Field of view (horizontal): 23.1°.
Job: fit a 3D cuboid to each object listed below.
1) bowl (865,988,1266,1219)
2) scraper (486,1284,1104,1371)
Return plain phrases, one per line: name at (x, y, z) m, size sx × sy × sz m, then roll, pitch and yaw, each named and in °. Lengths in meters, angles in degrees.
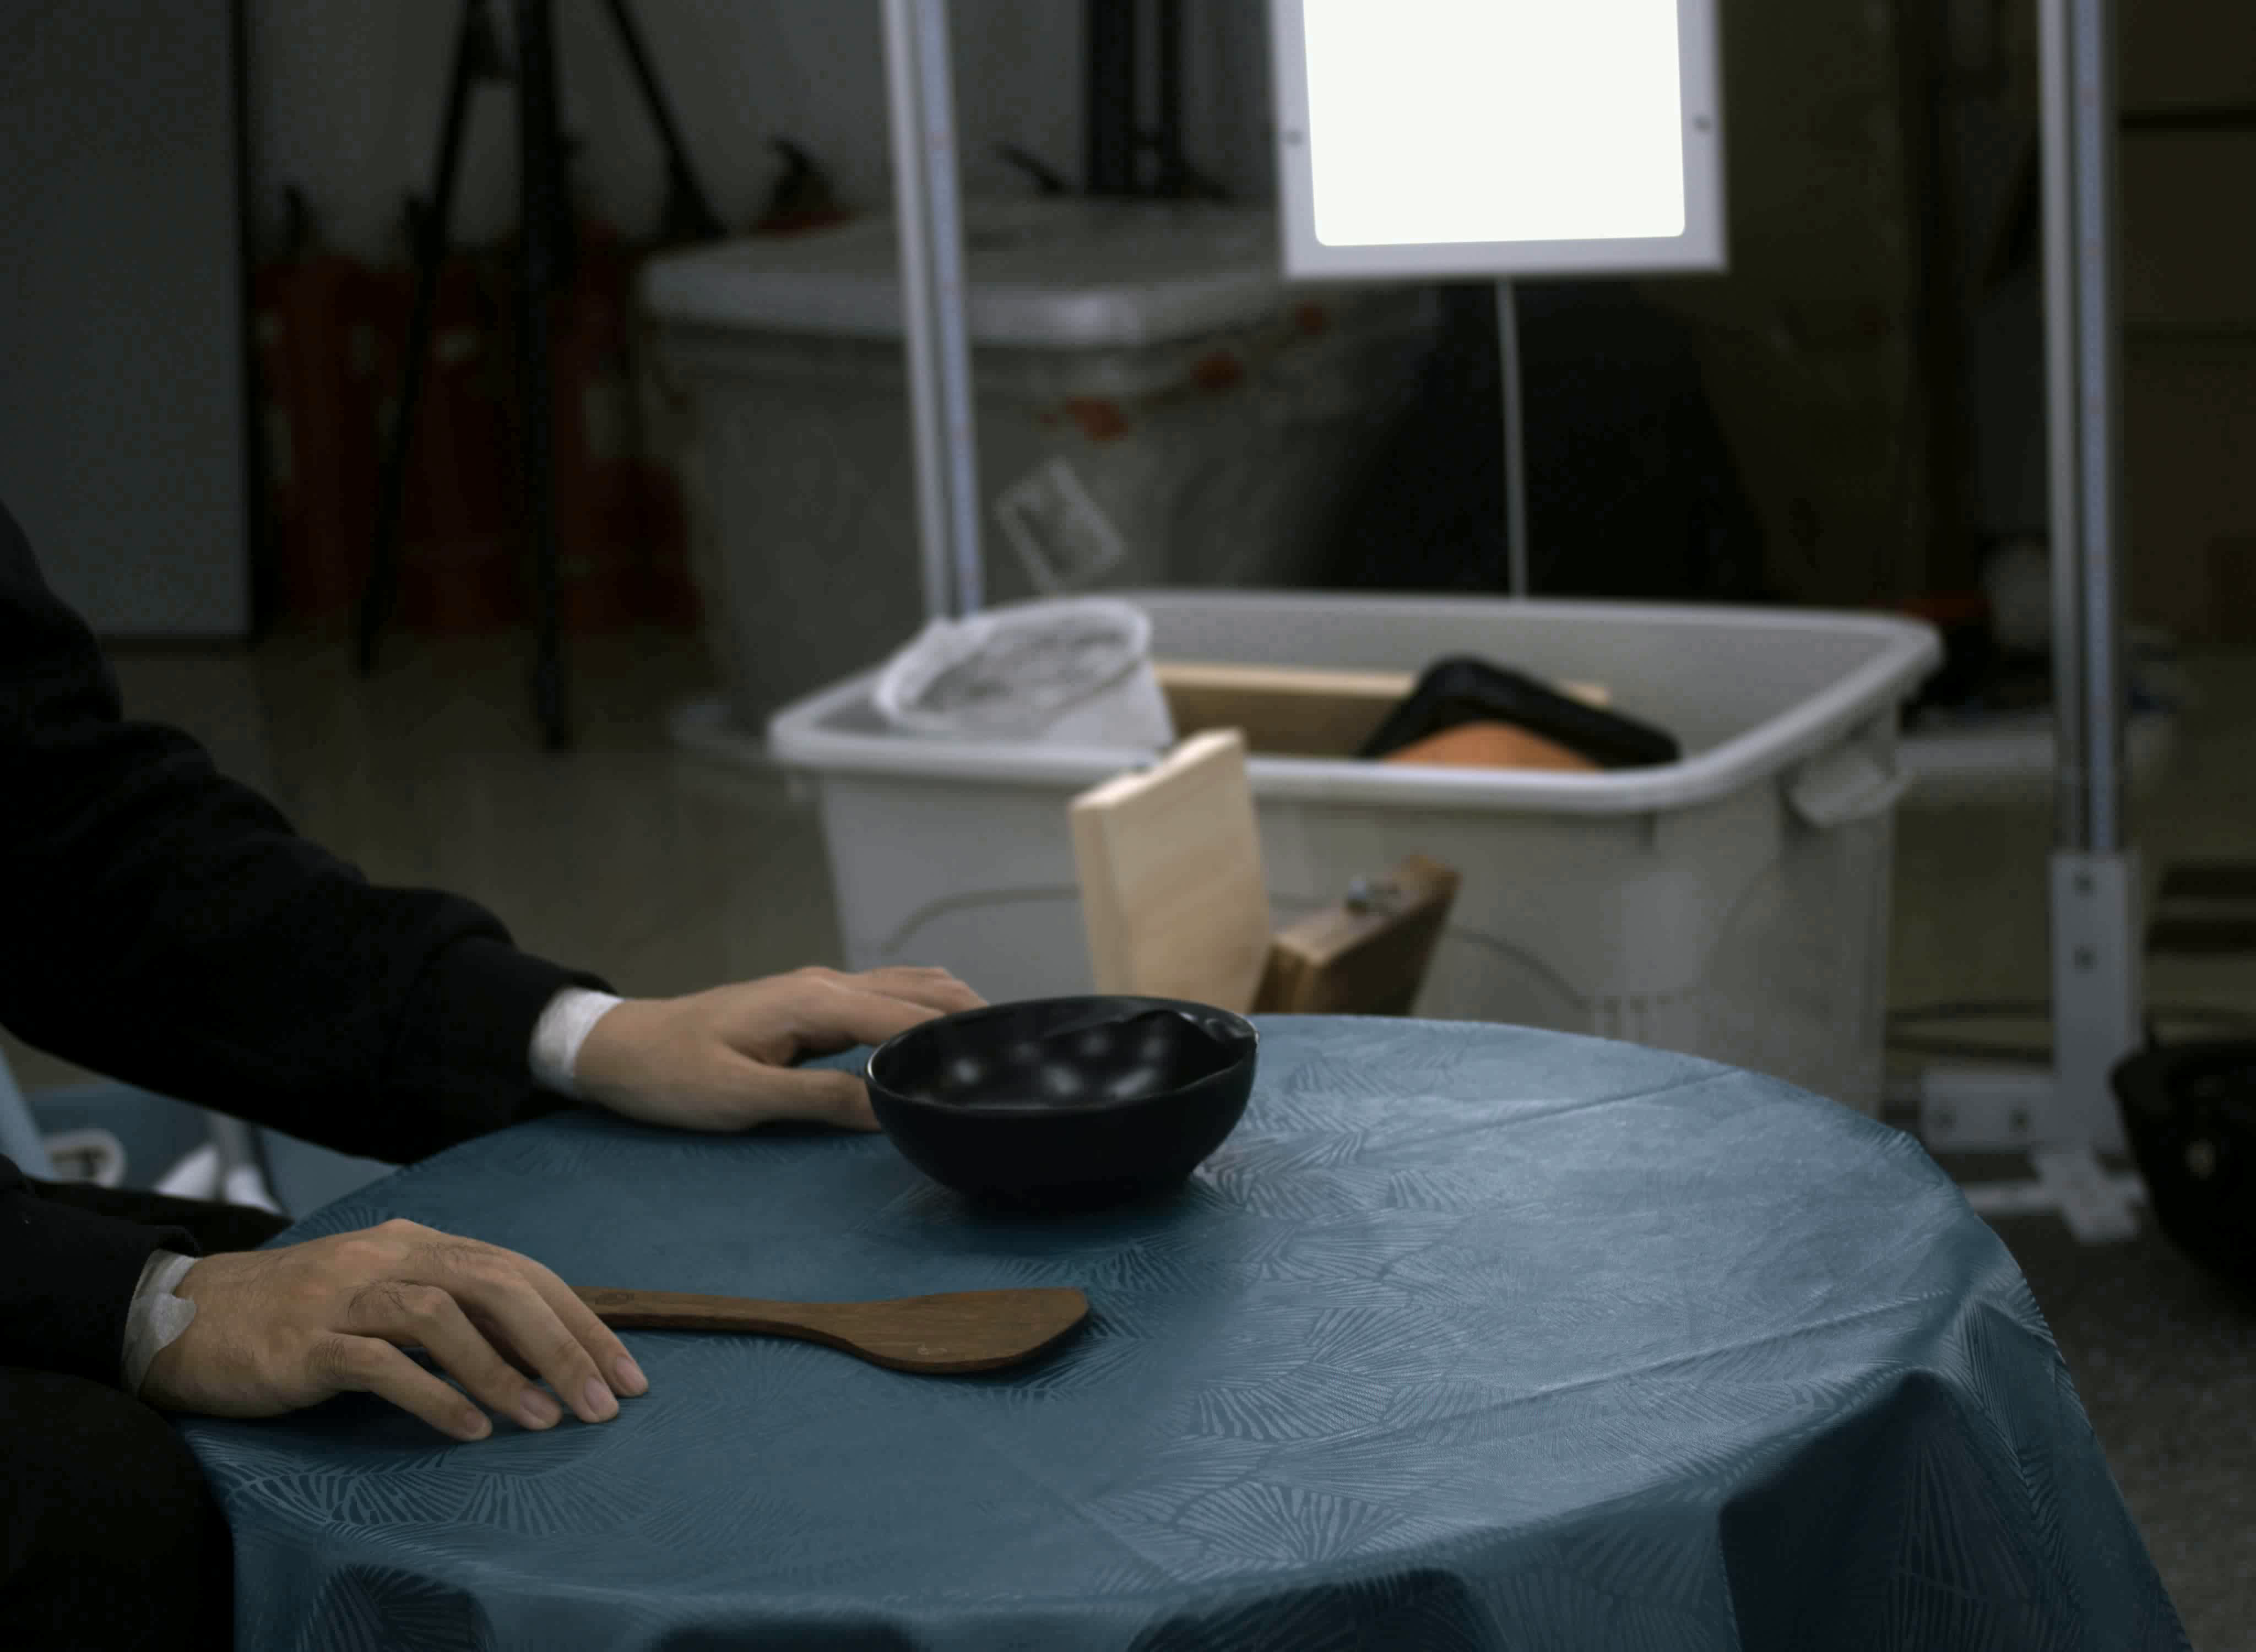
bowl at (-0.020, 0.101, 1.909) m, size 0.140 × 0.050 × 0.140 m, roll -6°, pitch 16°, yaw 0°
scraper at (-0.112, 0.159, 1.788) m, size 0.214 × 0.011 × 0.074 m, roll 1°, pitch 14°, yaw 25°
